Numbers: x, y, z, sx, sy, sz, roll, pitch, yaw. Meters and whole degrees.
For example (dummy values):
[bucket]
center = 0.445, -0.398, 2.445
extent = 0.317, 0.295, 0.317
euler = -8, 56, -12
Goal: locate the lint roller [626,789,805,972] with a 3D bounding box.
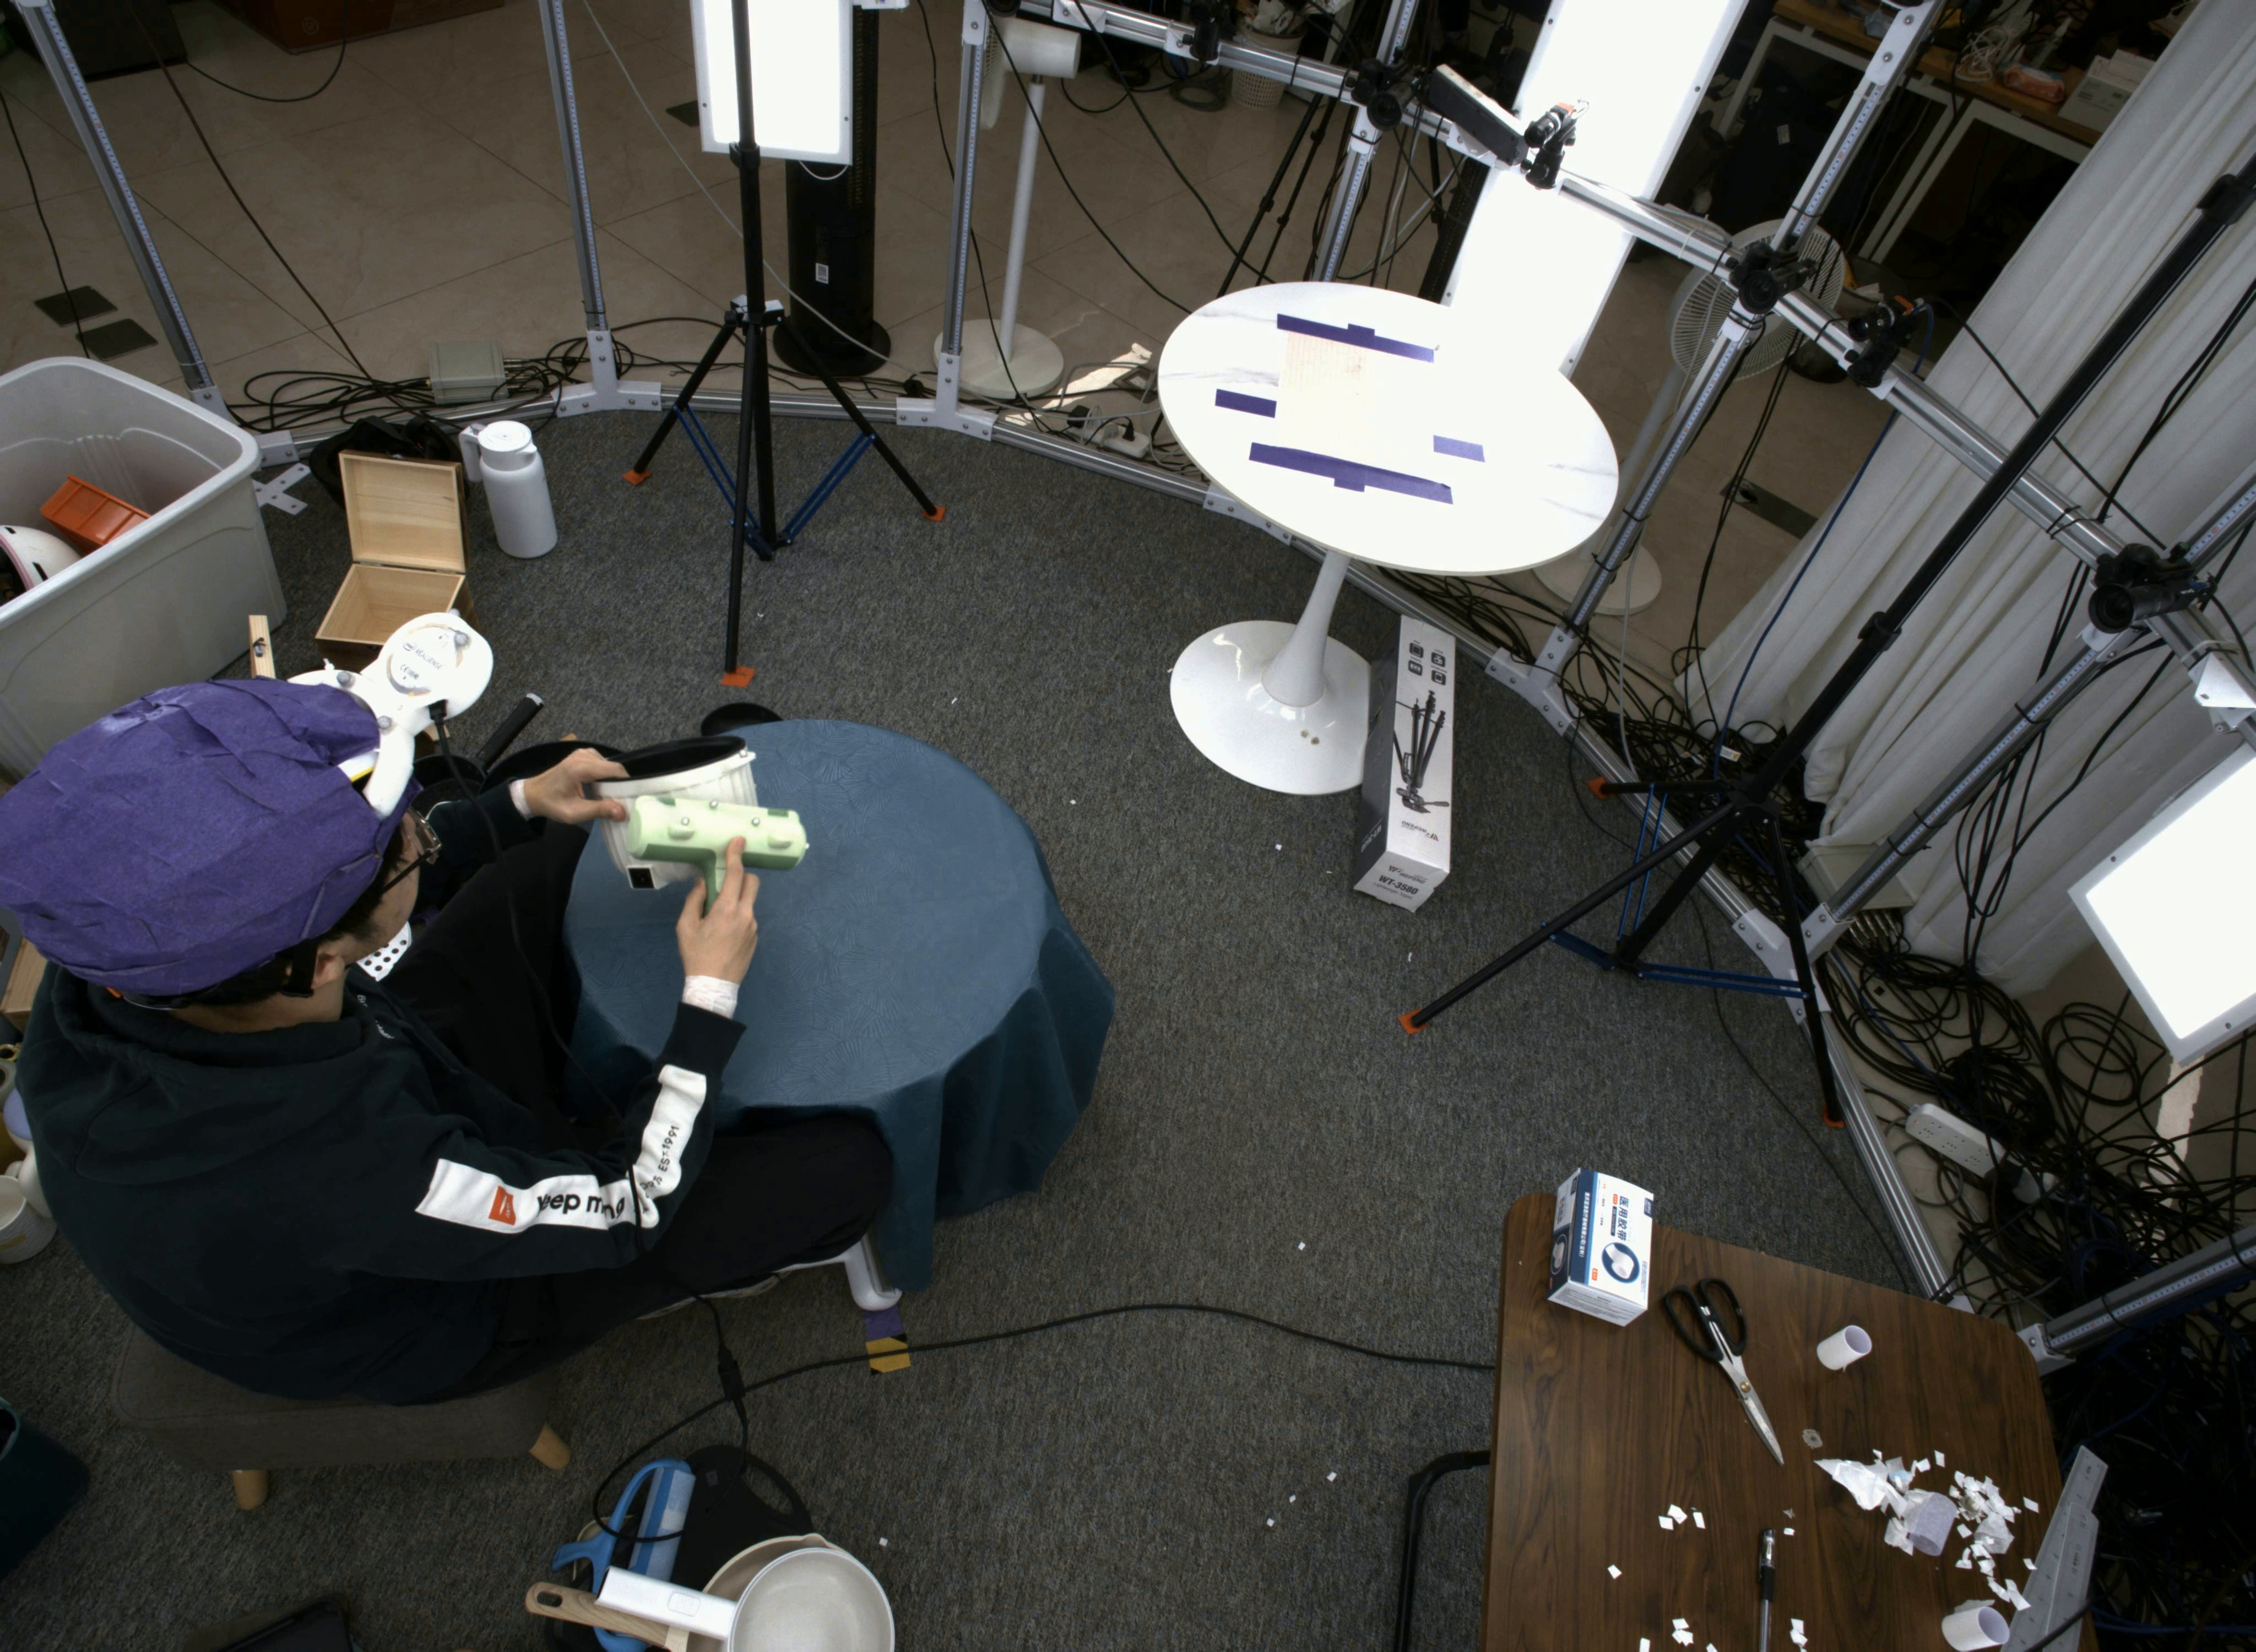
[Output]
[lint roller]
center = -0.438, 0.057, 1.396
extent = 0.203, 0.080, 0.182
euler = 7, 68, -44

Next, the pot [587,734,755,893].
[pot]
center = -0.523, -0.019, 1.499
extent = 0.234, 0.147, 0.190
euler = 0, 22, 20
